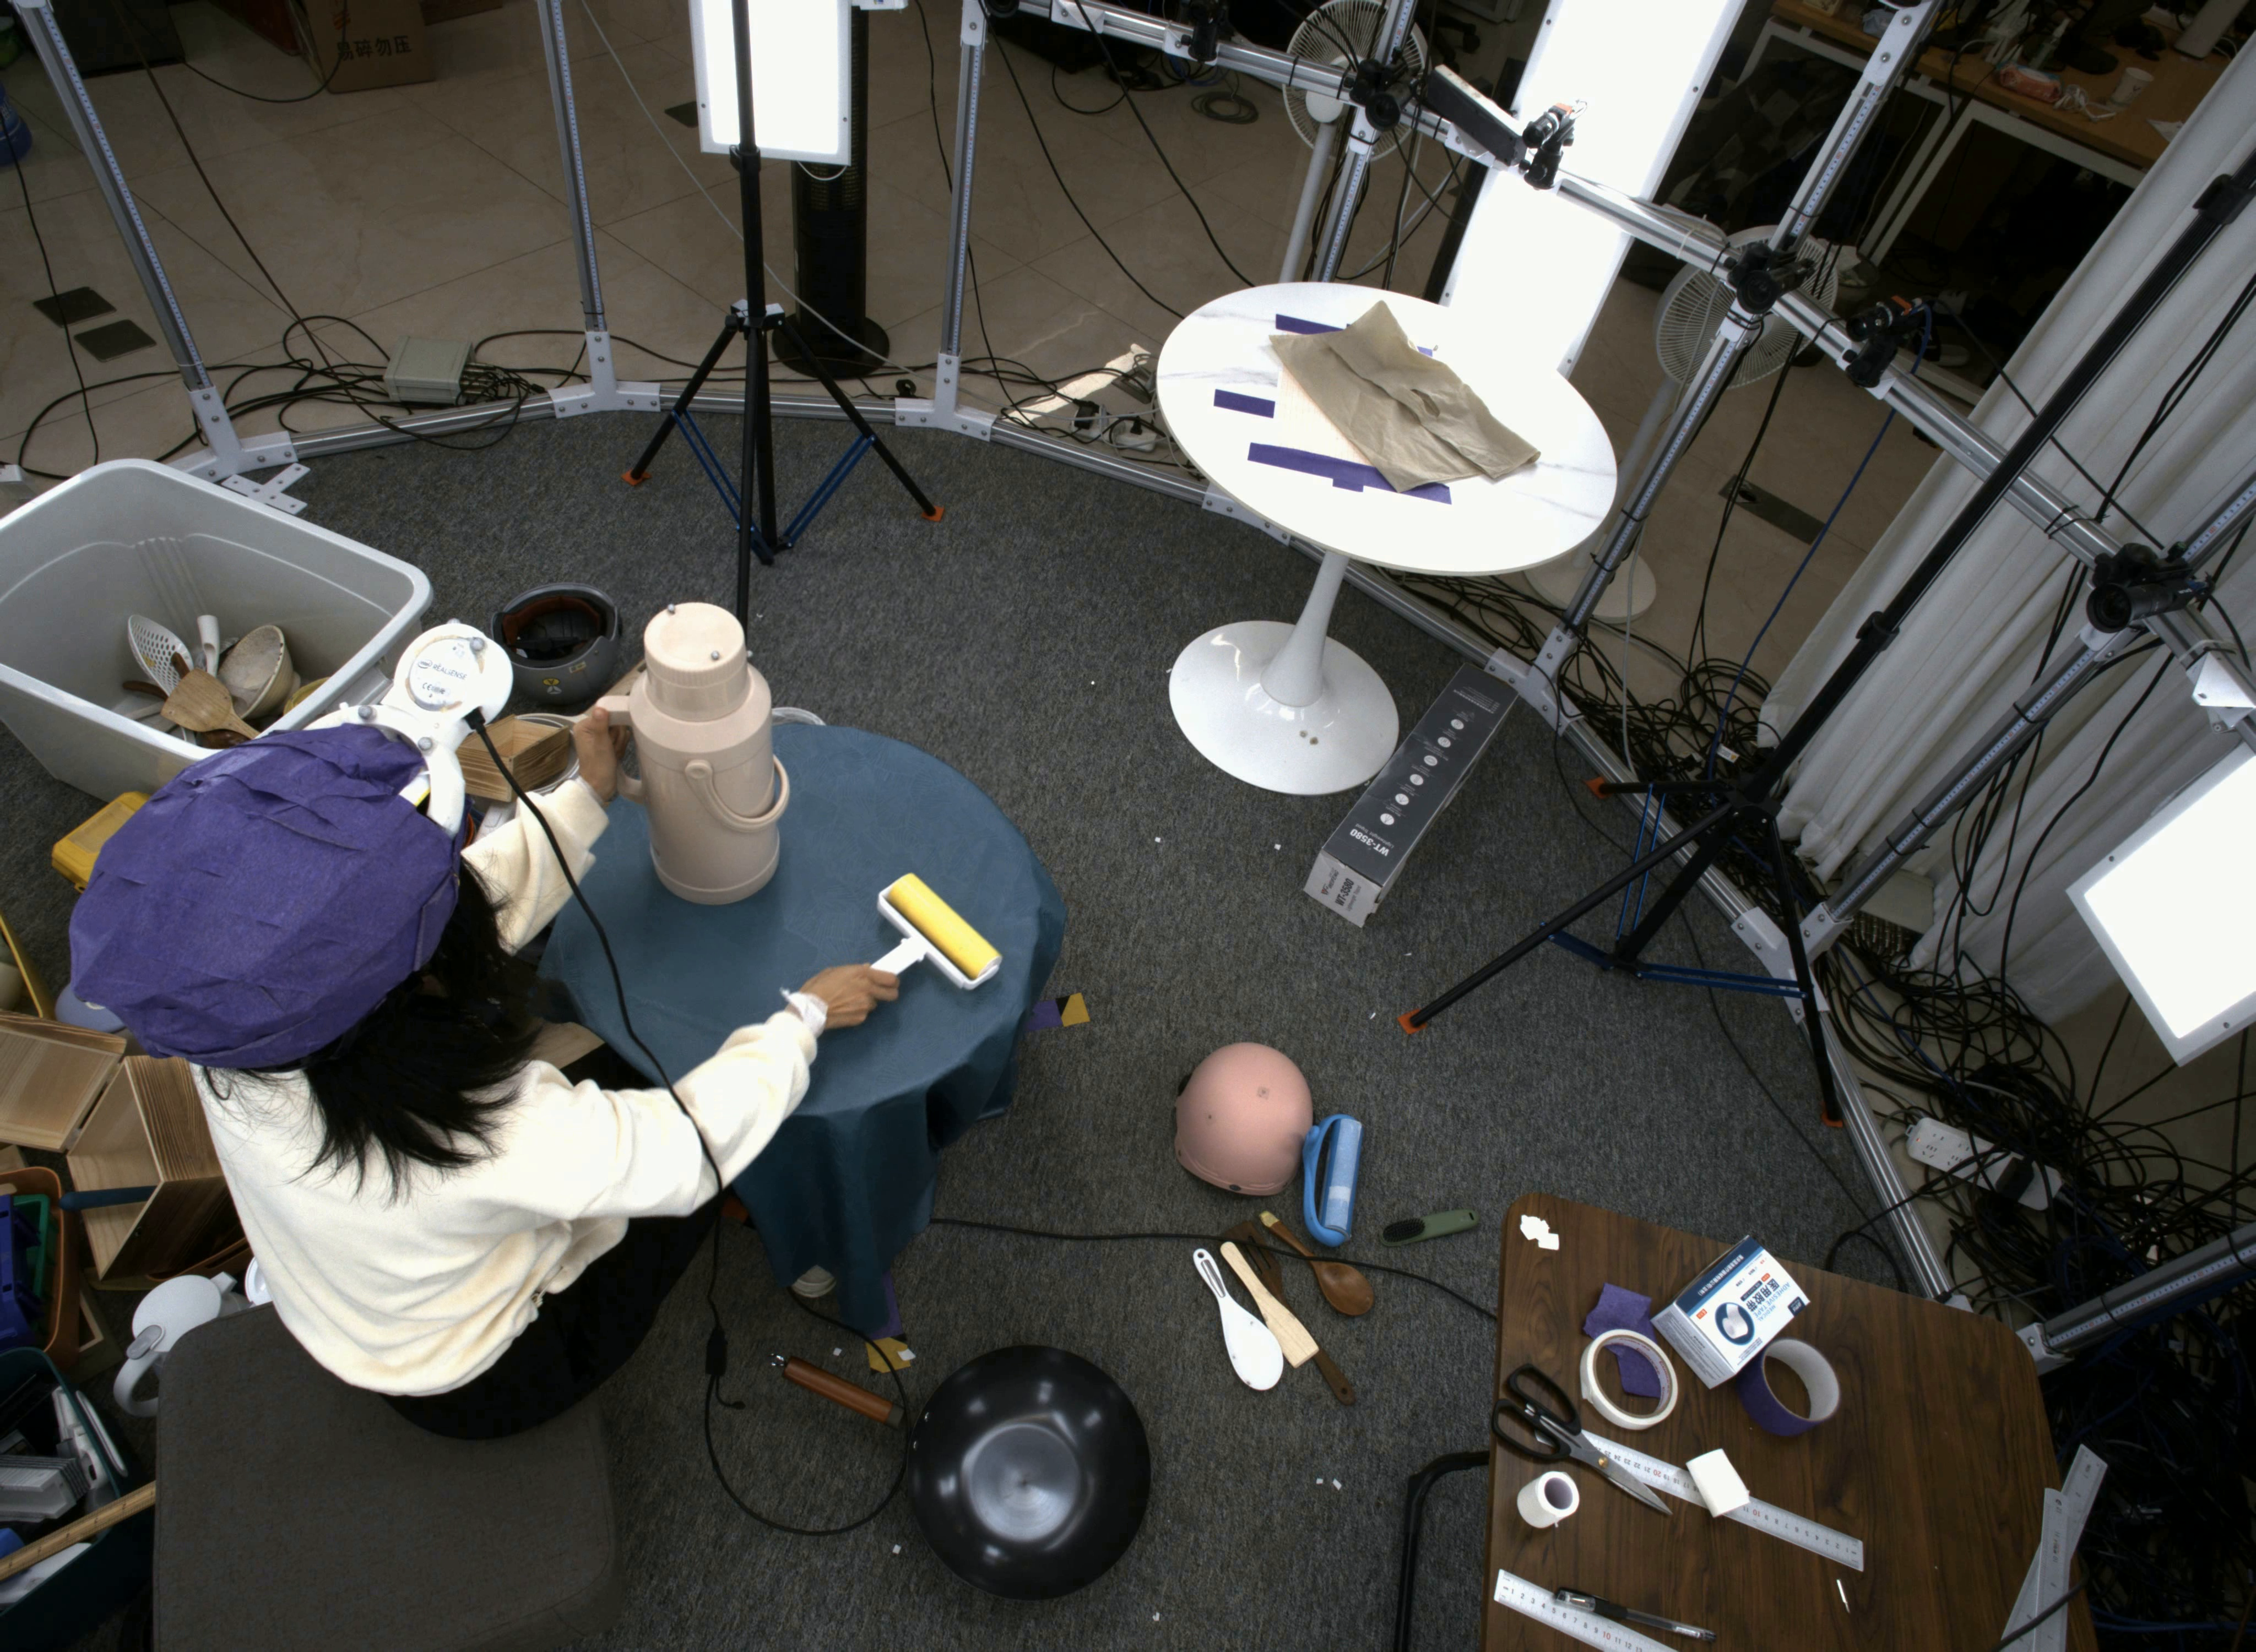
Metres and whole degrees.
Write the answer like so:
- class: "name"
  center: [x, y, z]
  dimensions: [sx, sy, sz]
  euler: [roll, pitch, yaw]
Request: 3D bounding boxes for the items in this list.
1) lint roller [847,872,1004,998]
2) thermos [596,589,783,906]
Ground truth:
- class: "lint roller"
  center: [-0.268, 0.148, 1.588]
  dimensions: [0.171, 0.052, 0.193]
  euler: [40, 34, 13]
- class: "thermos"
  center: [-0.512, -0.089, 1.505]
  dimensions: [0.207, 0.415, 0.171]
  euler: [-2, 53, -14]
